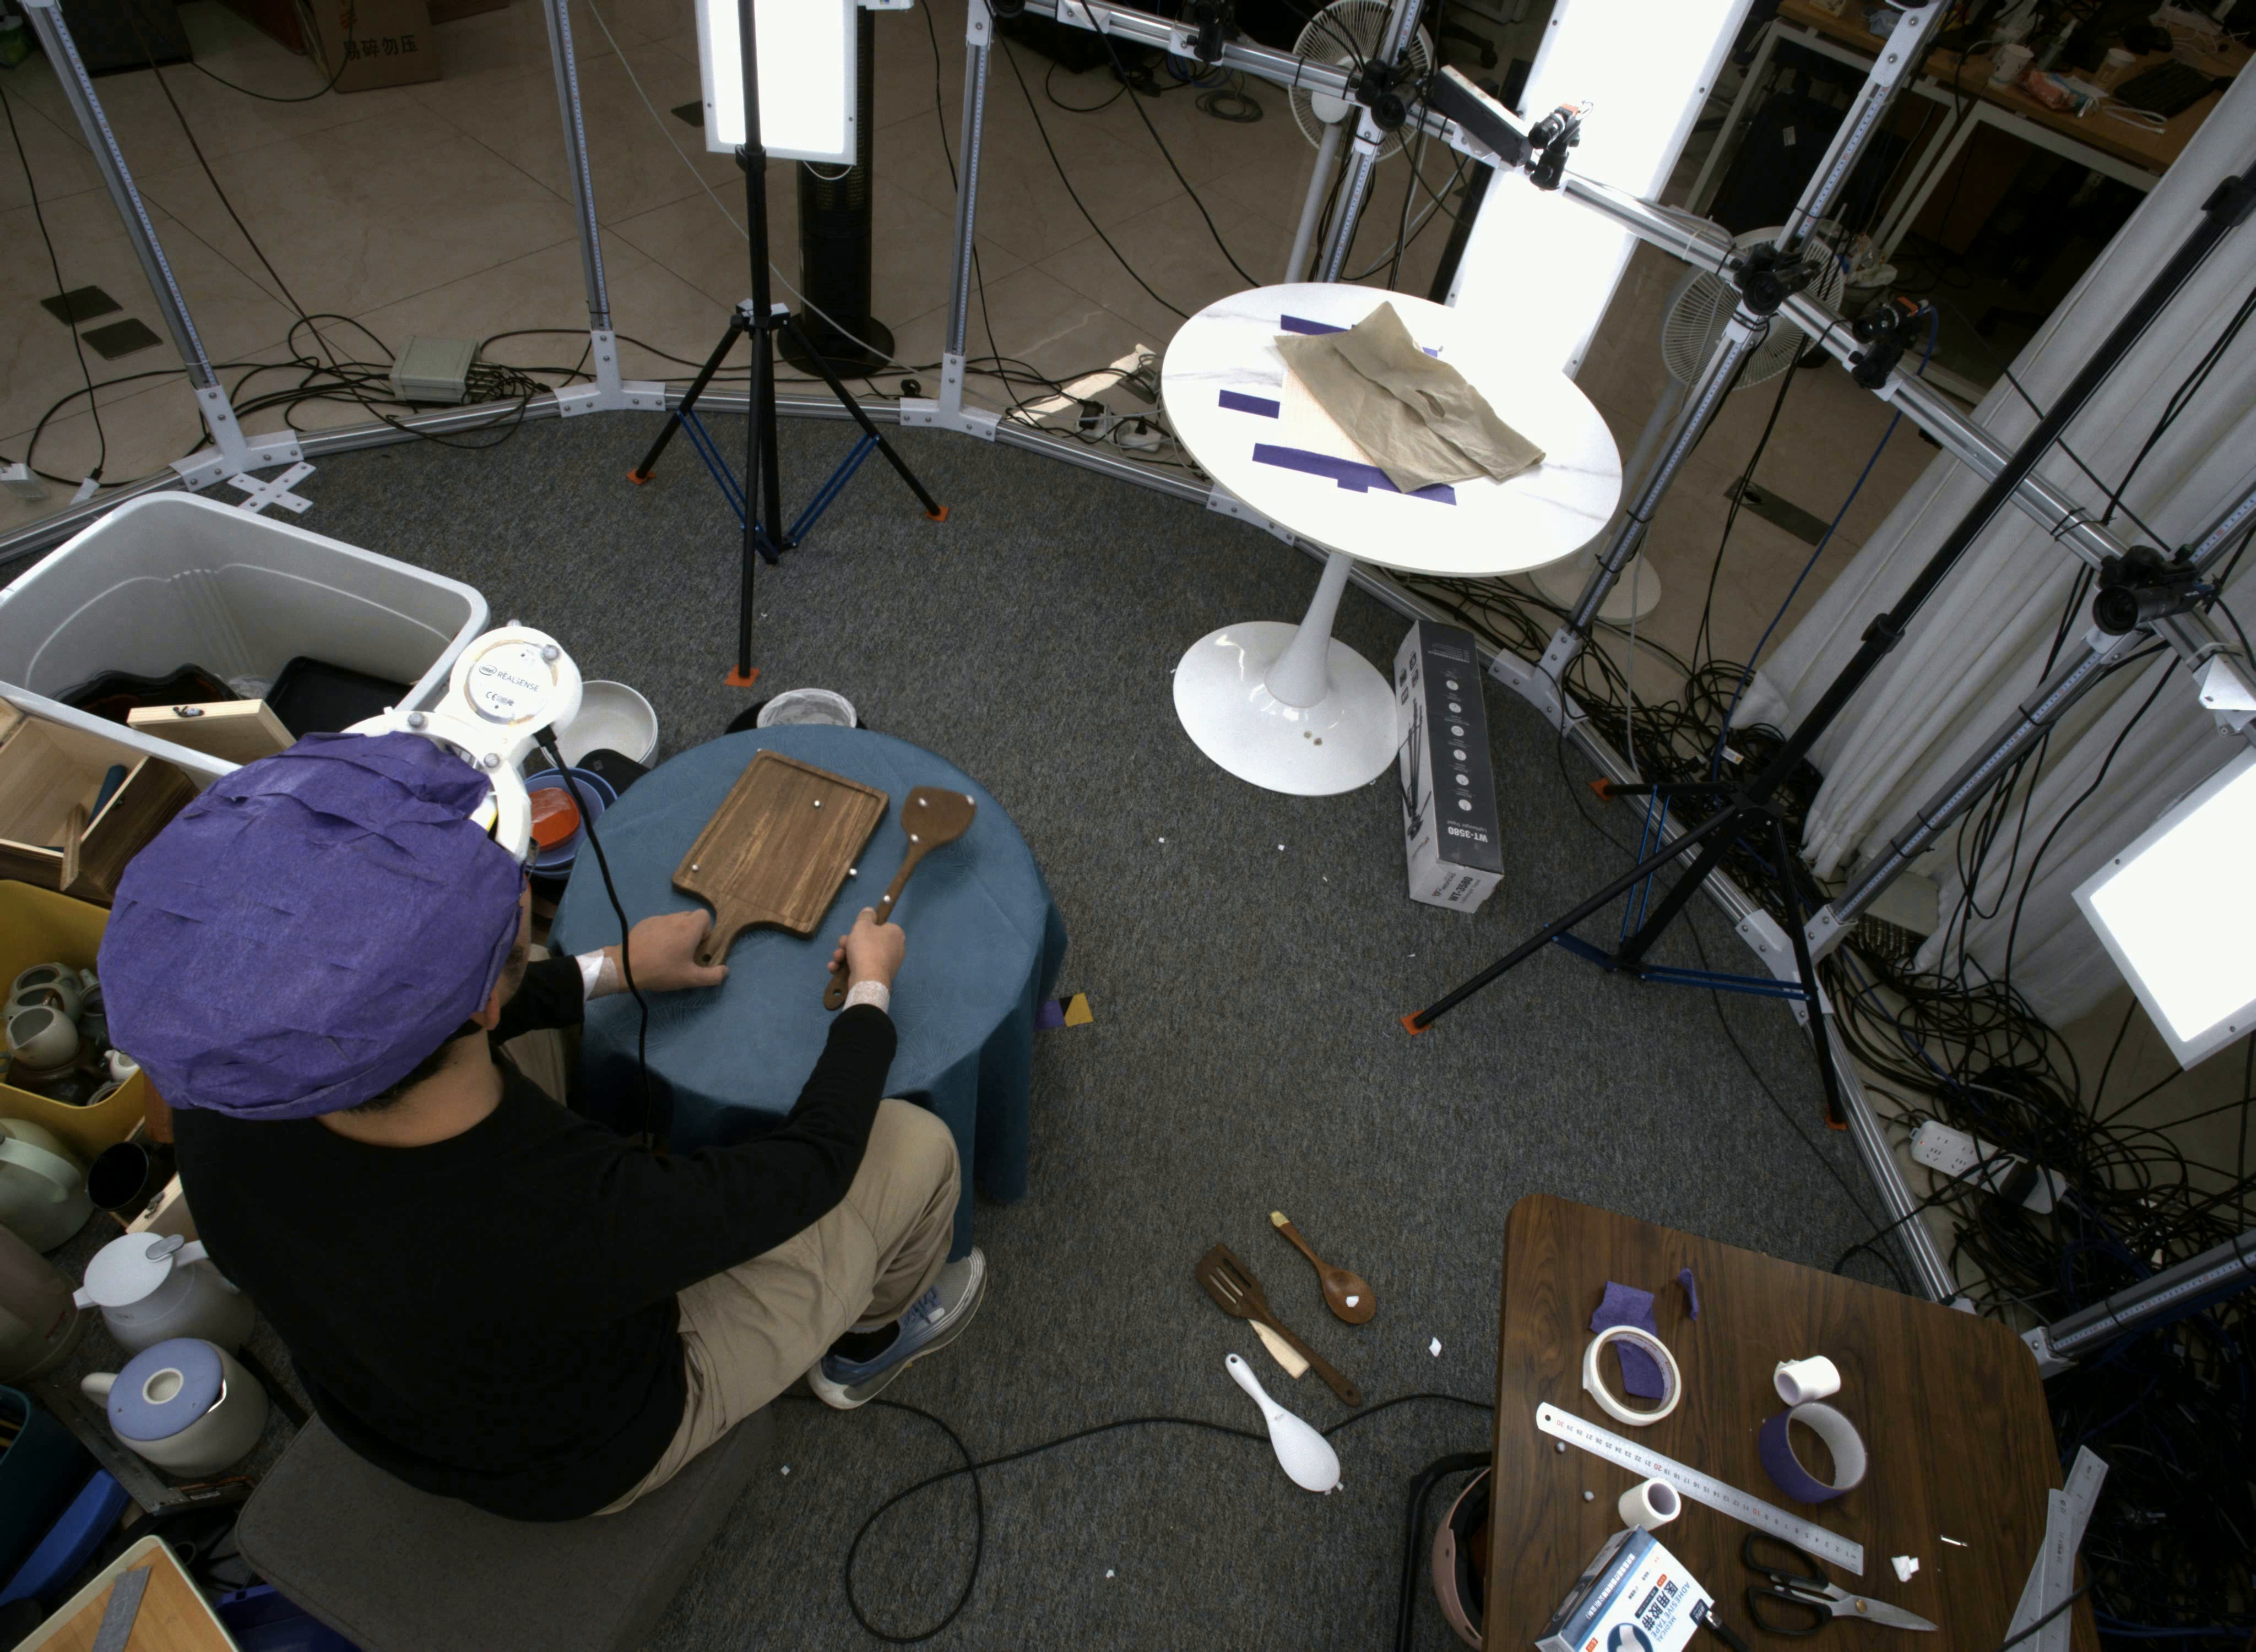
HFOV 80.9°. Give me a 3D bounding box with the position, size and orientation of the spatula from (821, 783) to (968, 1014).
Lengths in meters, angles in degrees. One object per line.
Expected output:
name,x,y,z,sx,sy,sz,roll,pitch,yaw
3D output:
spatula,-0.294,0.076,1.595,0.095,0.016,0.381,14,45,4

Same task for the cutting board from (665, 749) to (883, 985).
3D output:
cutting board,-0.469,0.053,1.653,0.199,0.023,0.348,20,51,1
